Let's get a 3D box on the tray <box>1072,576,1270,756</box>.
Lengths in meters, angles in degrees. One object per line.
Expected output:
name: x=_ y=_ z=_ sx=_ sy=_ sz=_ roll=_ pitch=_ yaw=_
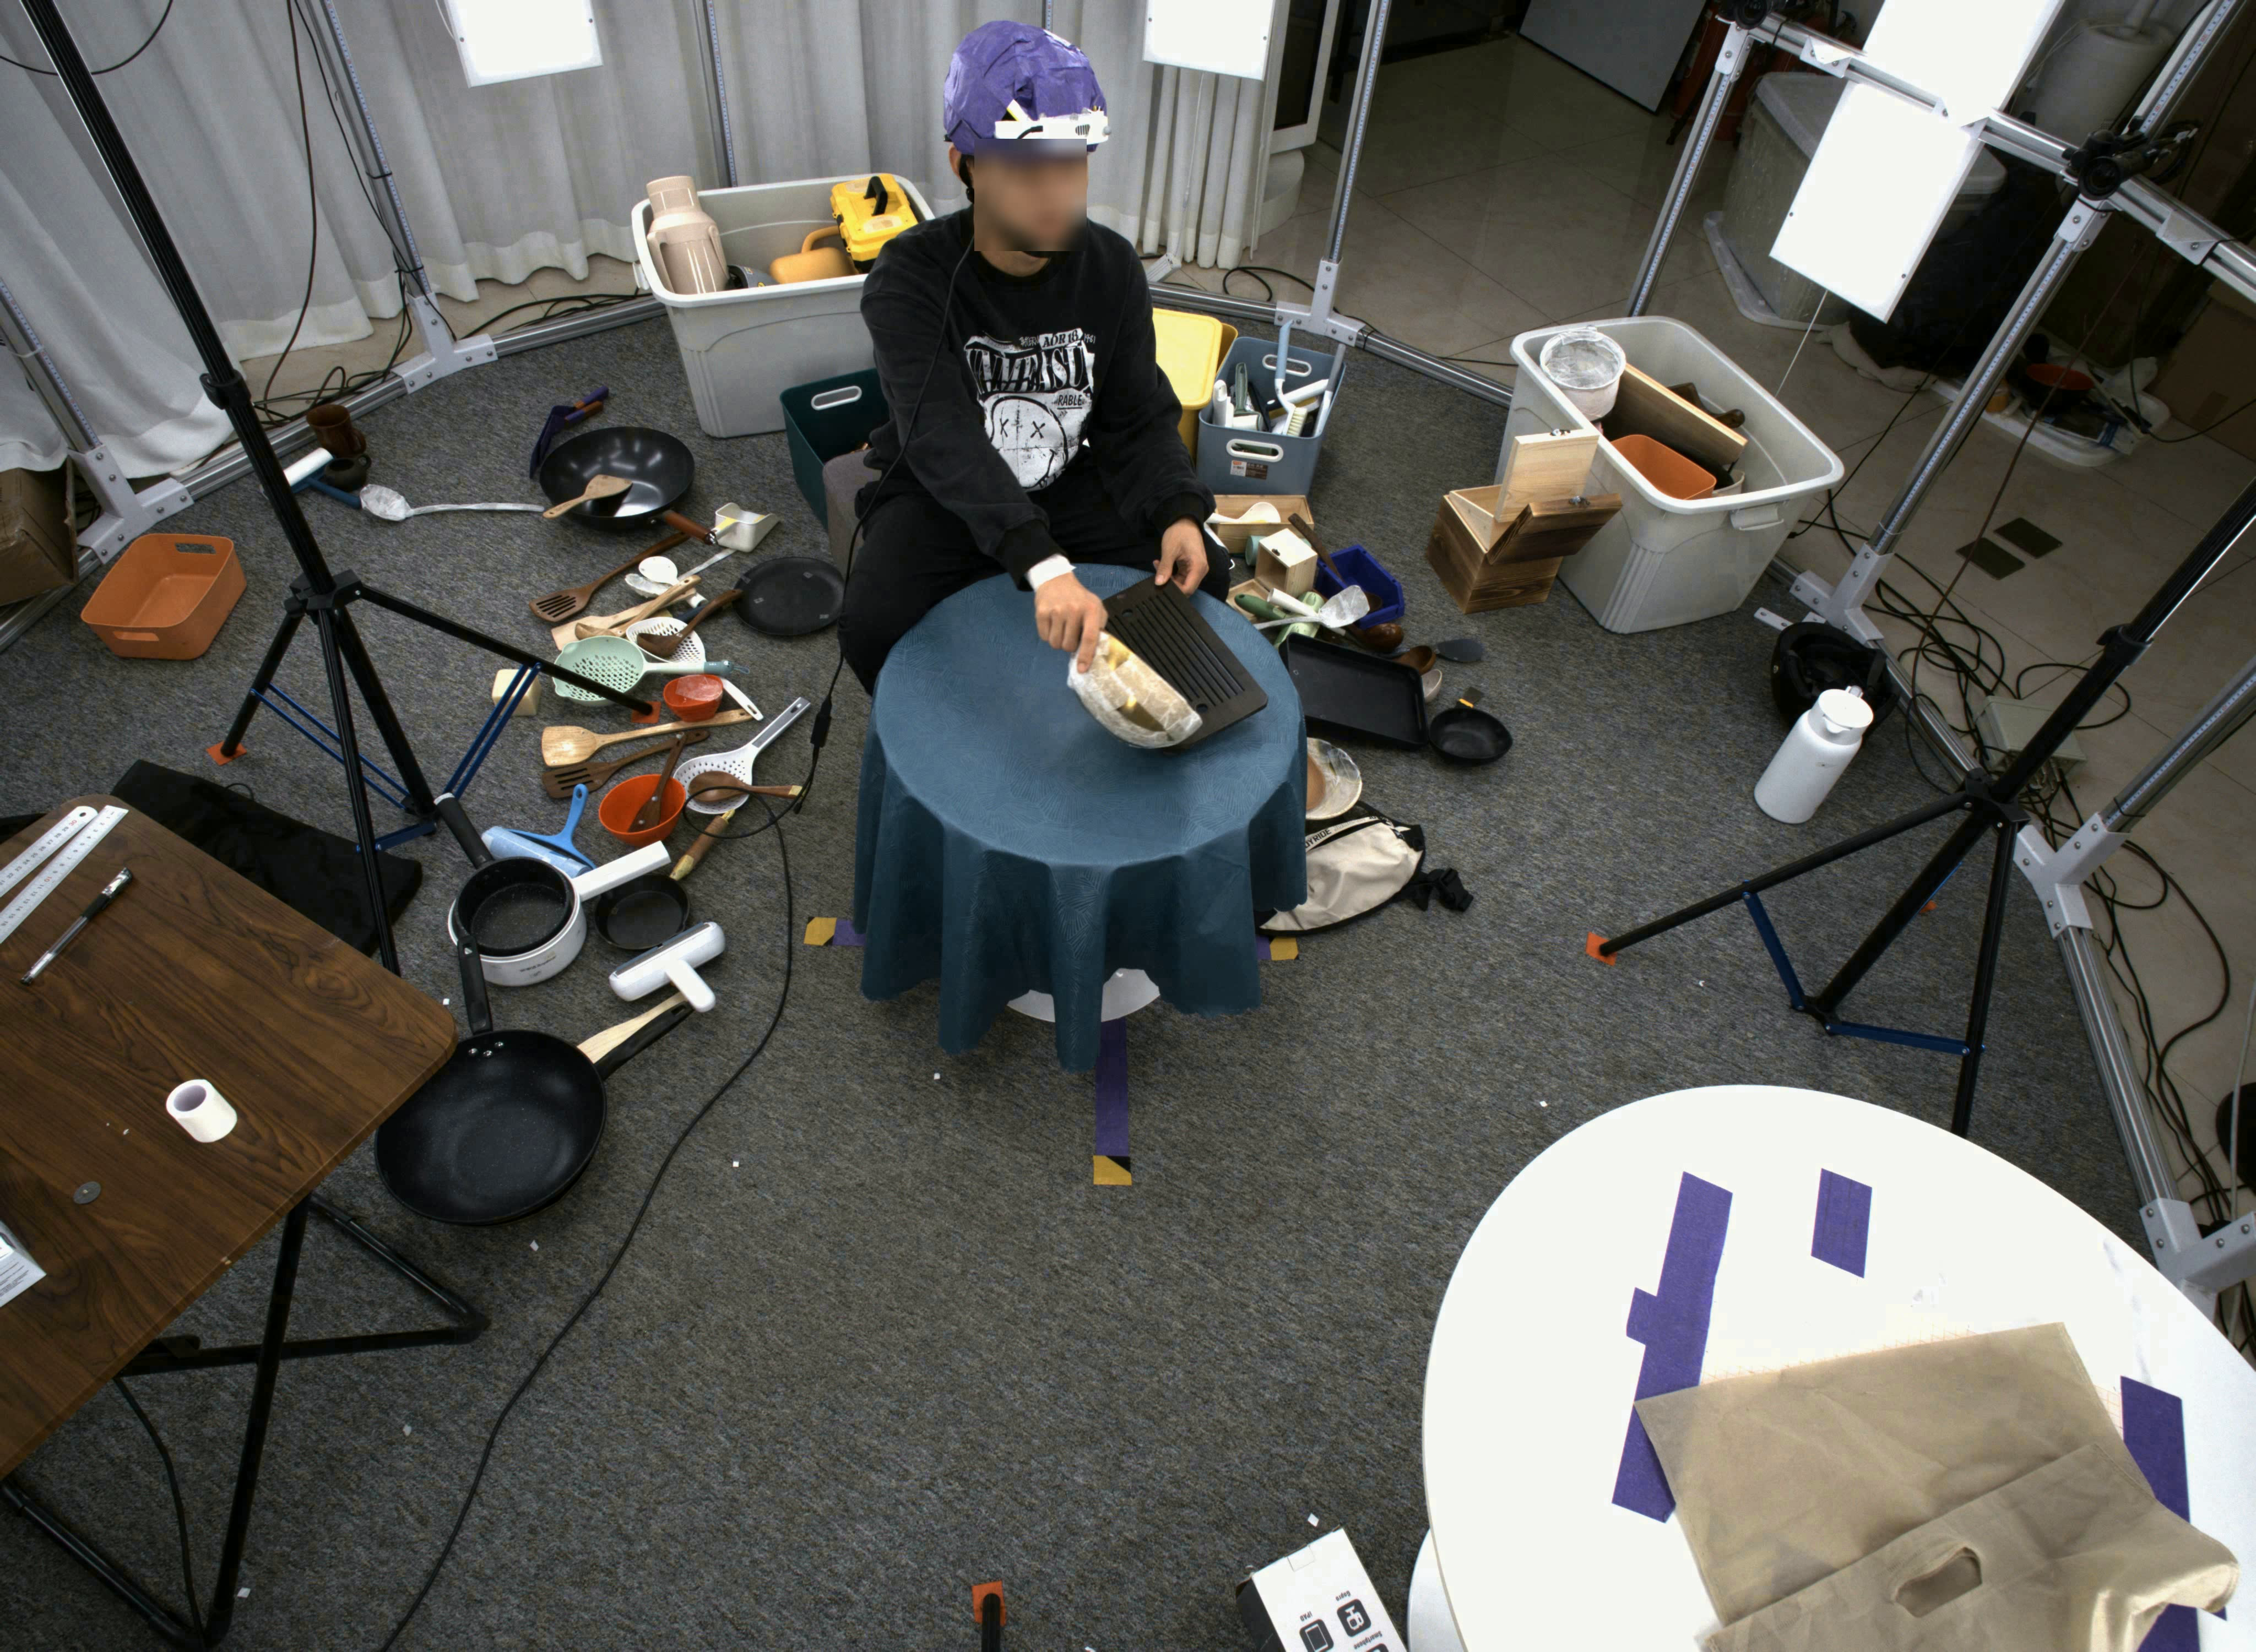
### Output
tray: x=0.057 y=-0.236 z=1.859 sx=0.170 sy=0.018 sz=0.312 roll=-28 pitch=55 yaw=-9

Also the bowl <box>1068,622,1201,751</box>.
bowl: x=-0.009 y=-0.167 z=1.703 sx=0.218 sy=0.211 sz=0.094 roll=41 pitch=91 yaw=27
